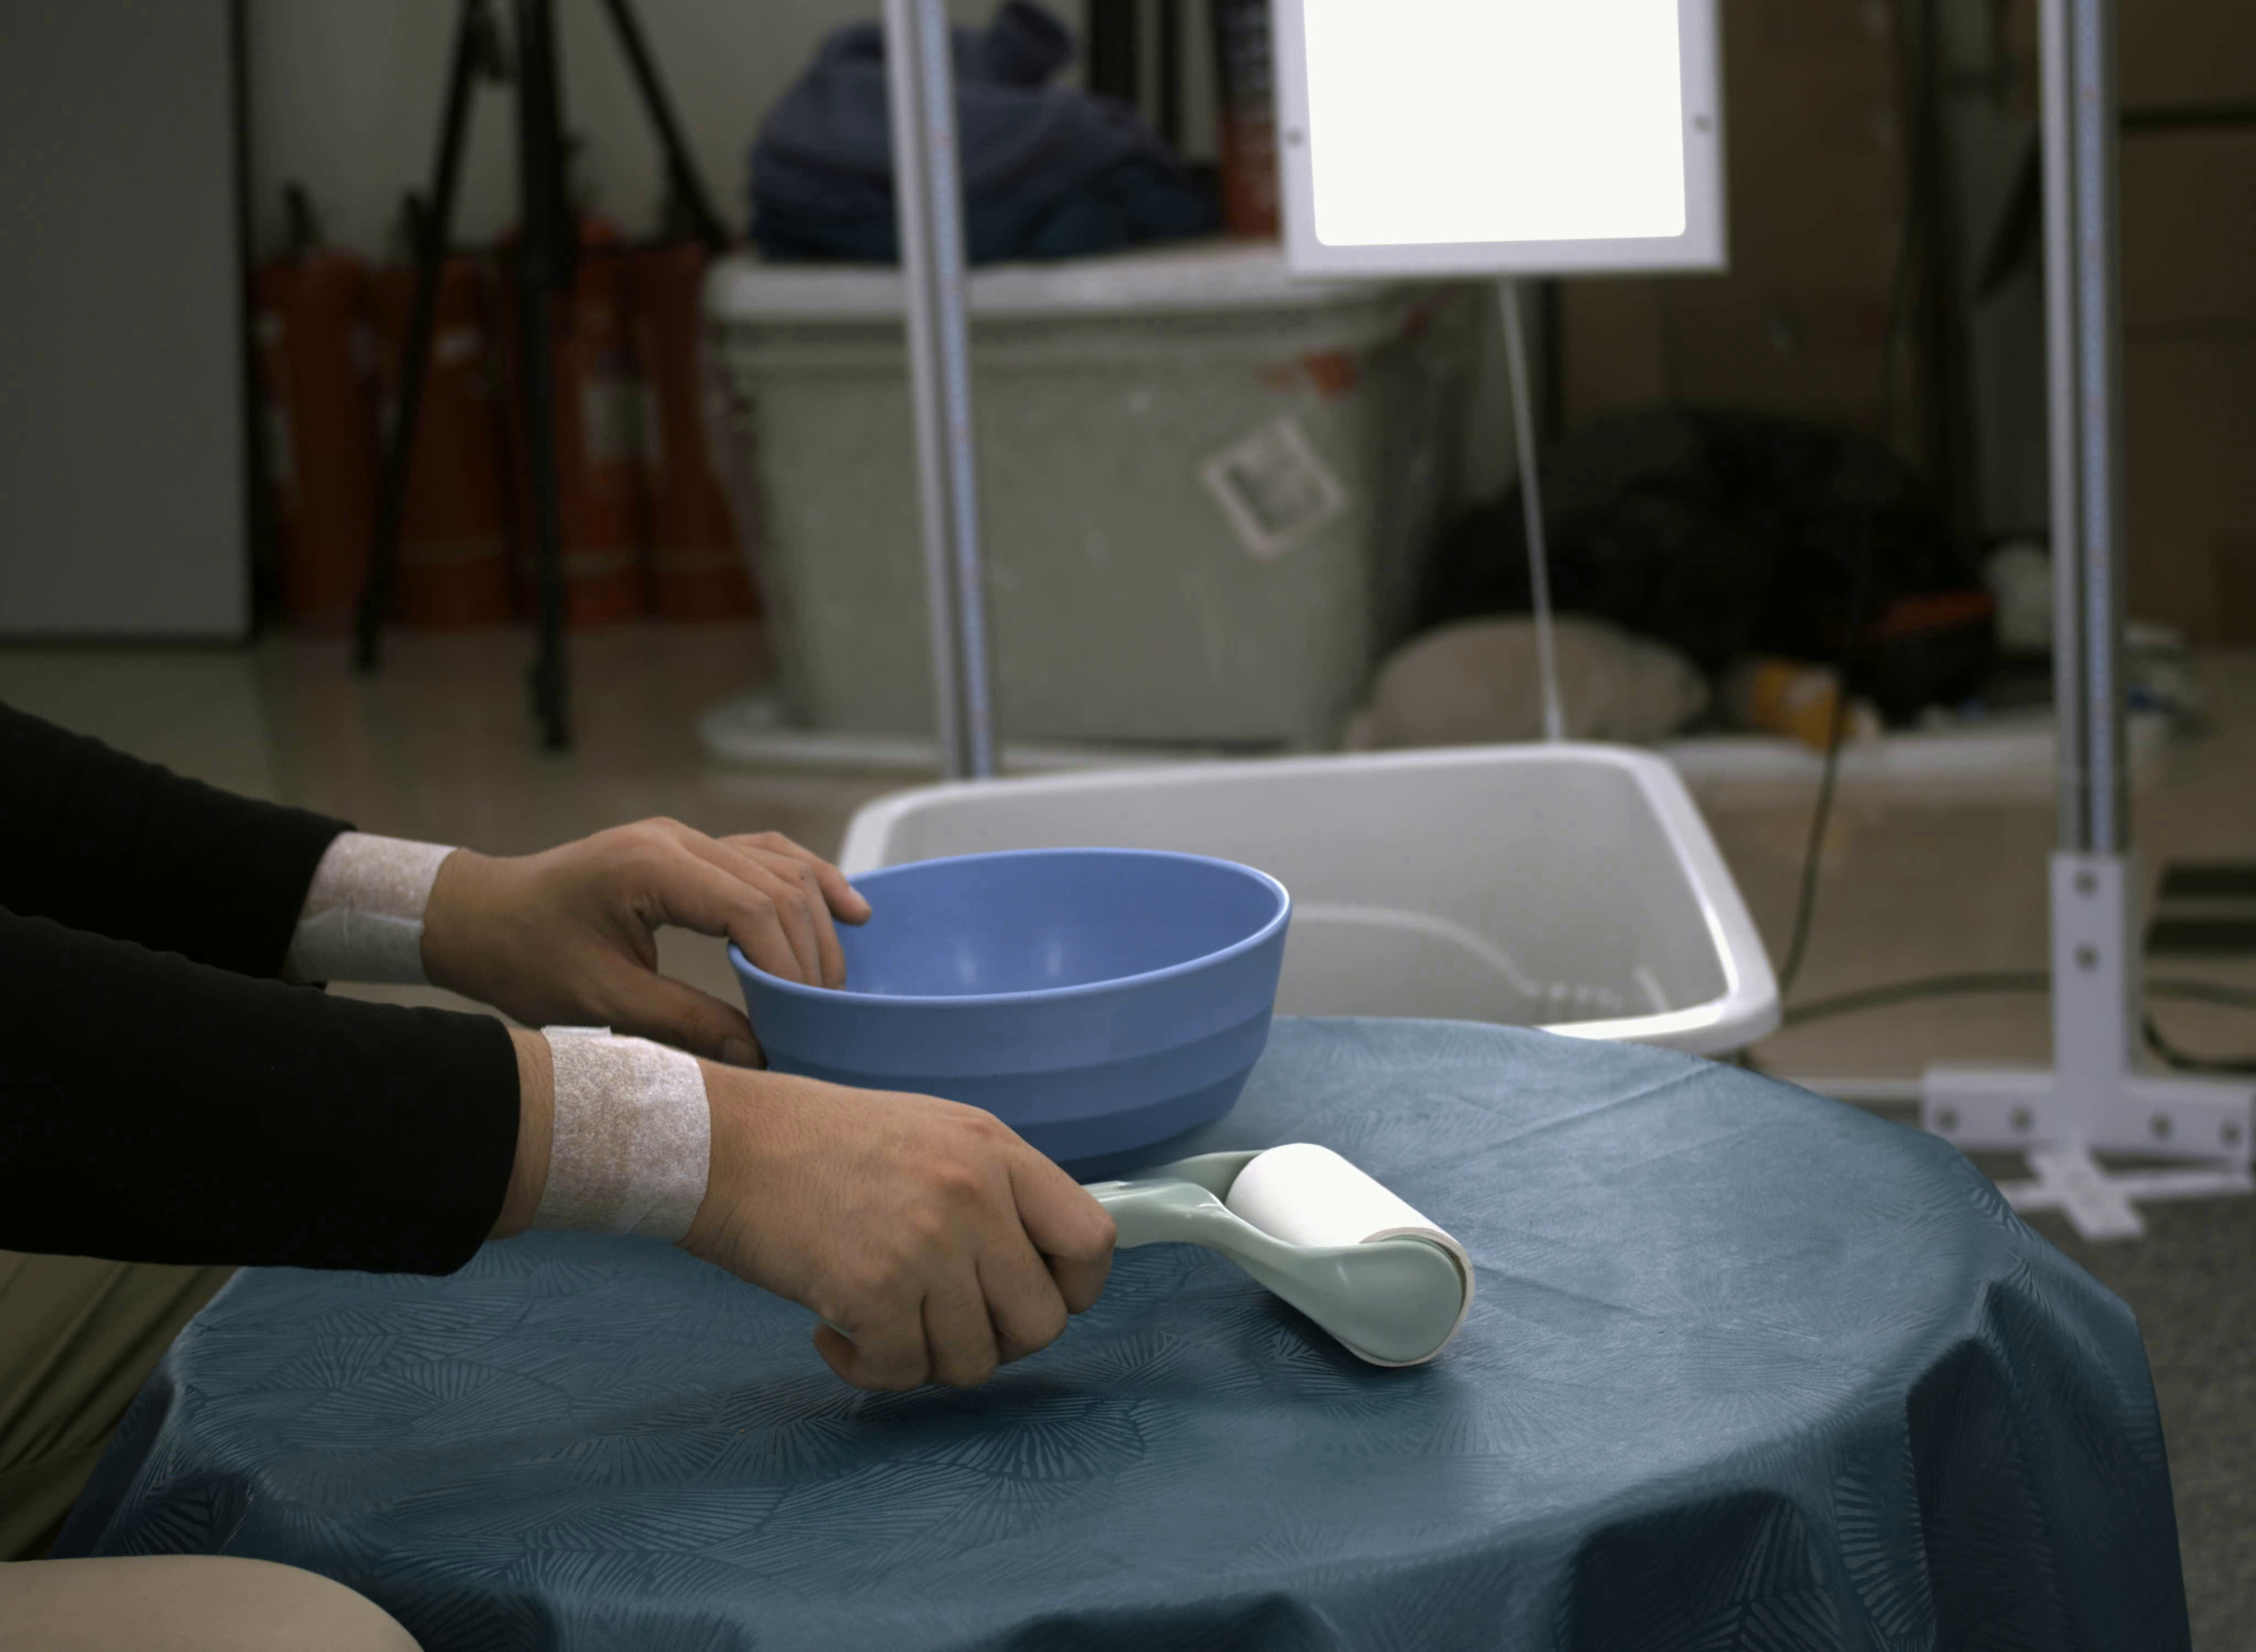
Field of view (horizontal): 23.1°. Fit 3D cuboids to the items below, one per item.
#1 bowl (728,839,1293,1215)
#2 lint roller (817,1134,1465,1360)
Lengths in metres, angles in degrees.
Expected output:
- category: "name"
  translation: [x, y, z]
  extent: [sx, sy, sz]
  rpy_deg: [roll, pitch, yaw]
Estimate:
- category: "bowl"
  translation: [-0.038, 0.076, 1.914]
  extent: [0.196, 0.096, 0.196]
  rpy_deg: [-5, 15, 0]
- category: "lint roller"
  translation: [-0.003, 0.134, 1.727]
  extent: [0.194, 0.049, 0.118]
  rpy_deg: [0, 13, -17]
